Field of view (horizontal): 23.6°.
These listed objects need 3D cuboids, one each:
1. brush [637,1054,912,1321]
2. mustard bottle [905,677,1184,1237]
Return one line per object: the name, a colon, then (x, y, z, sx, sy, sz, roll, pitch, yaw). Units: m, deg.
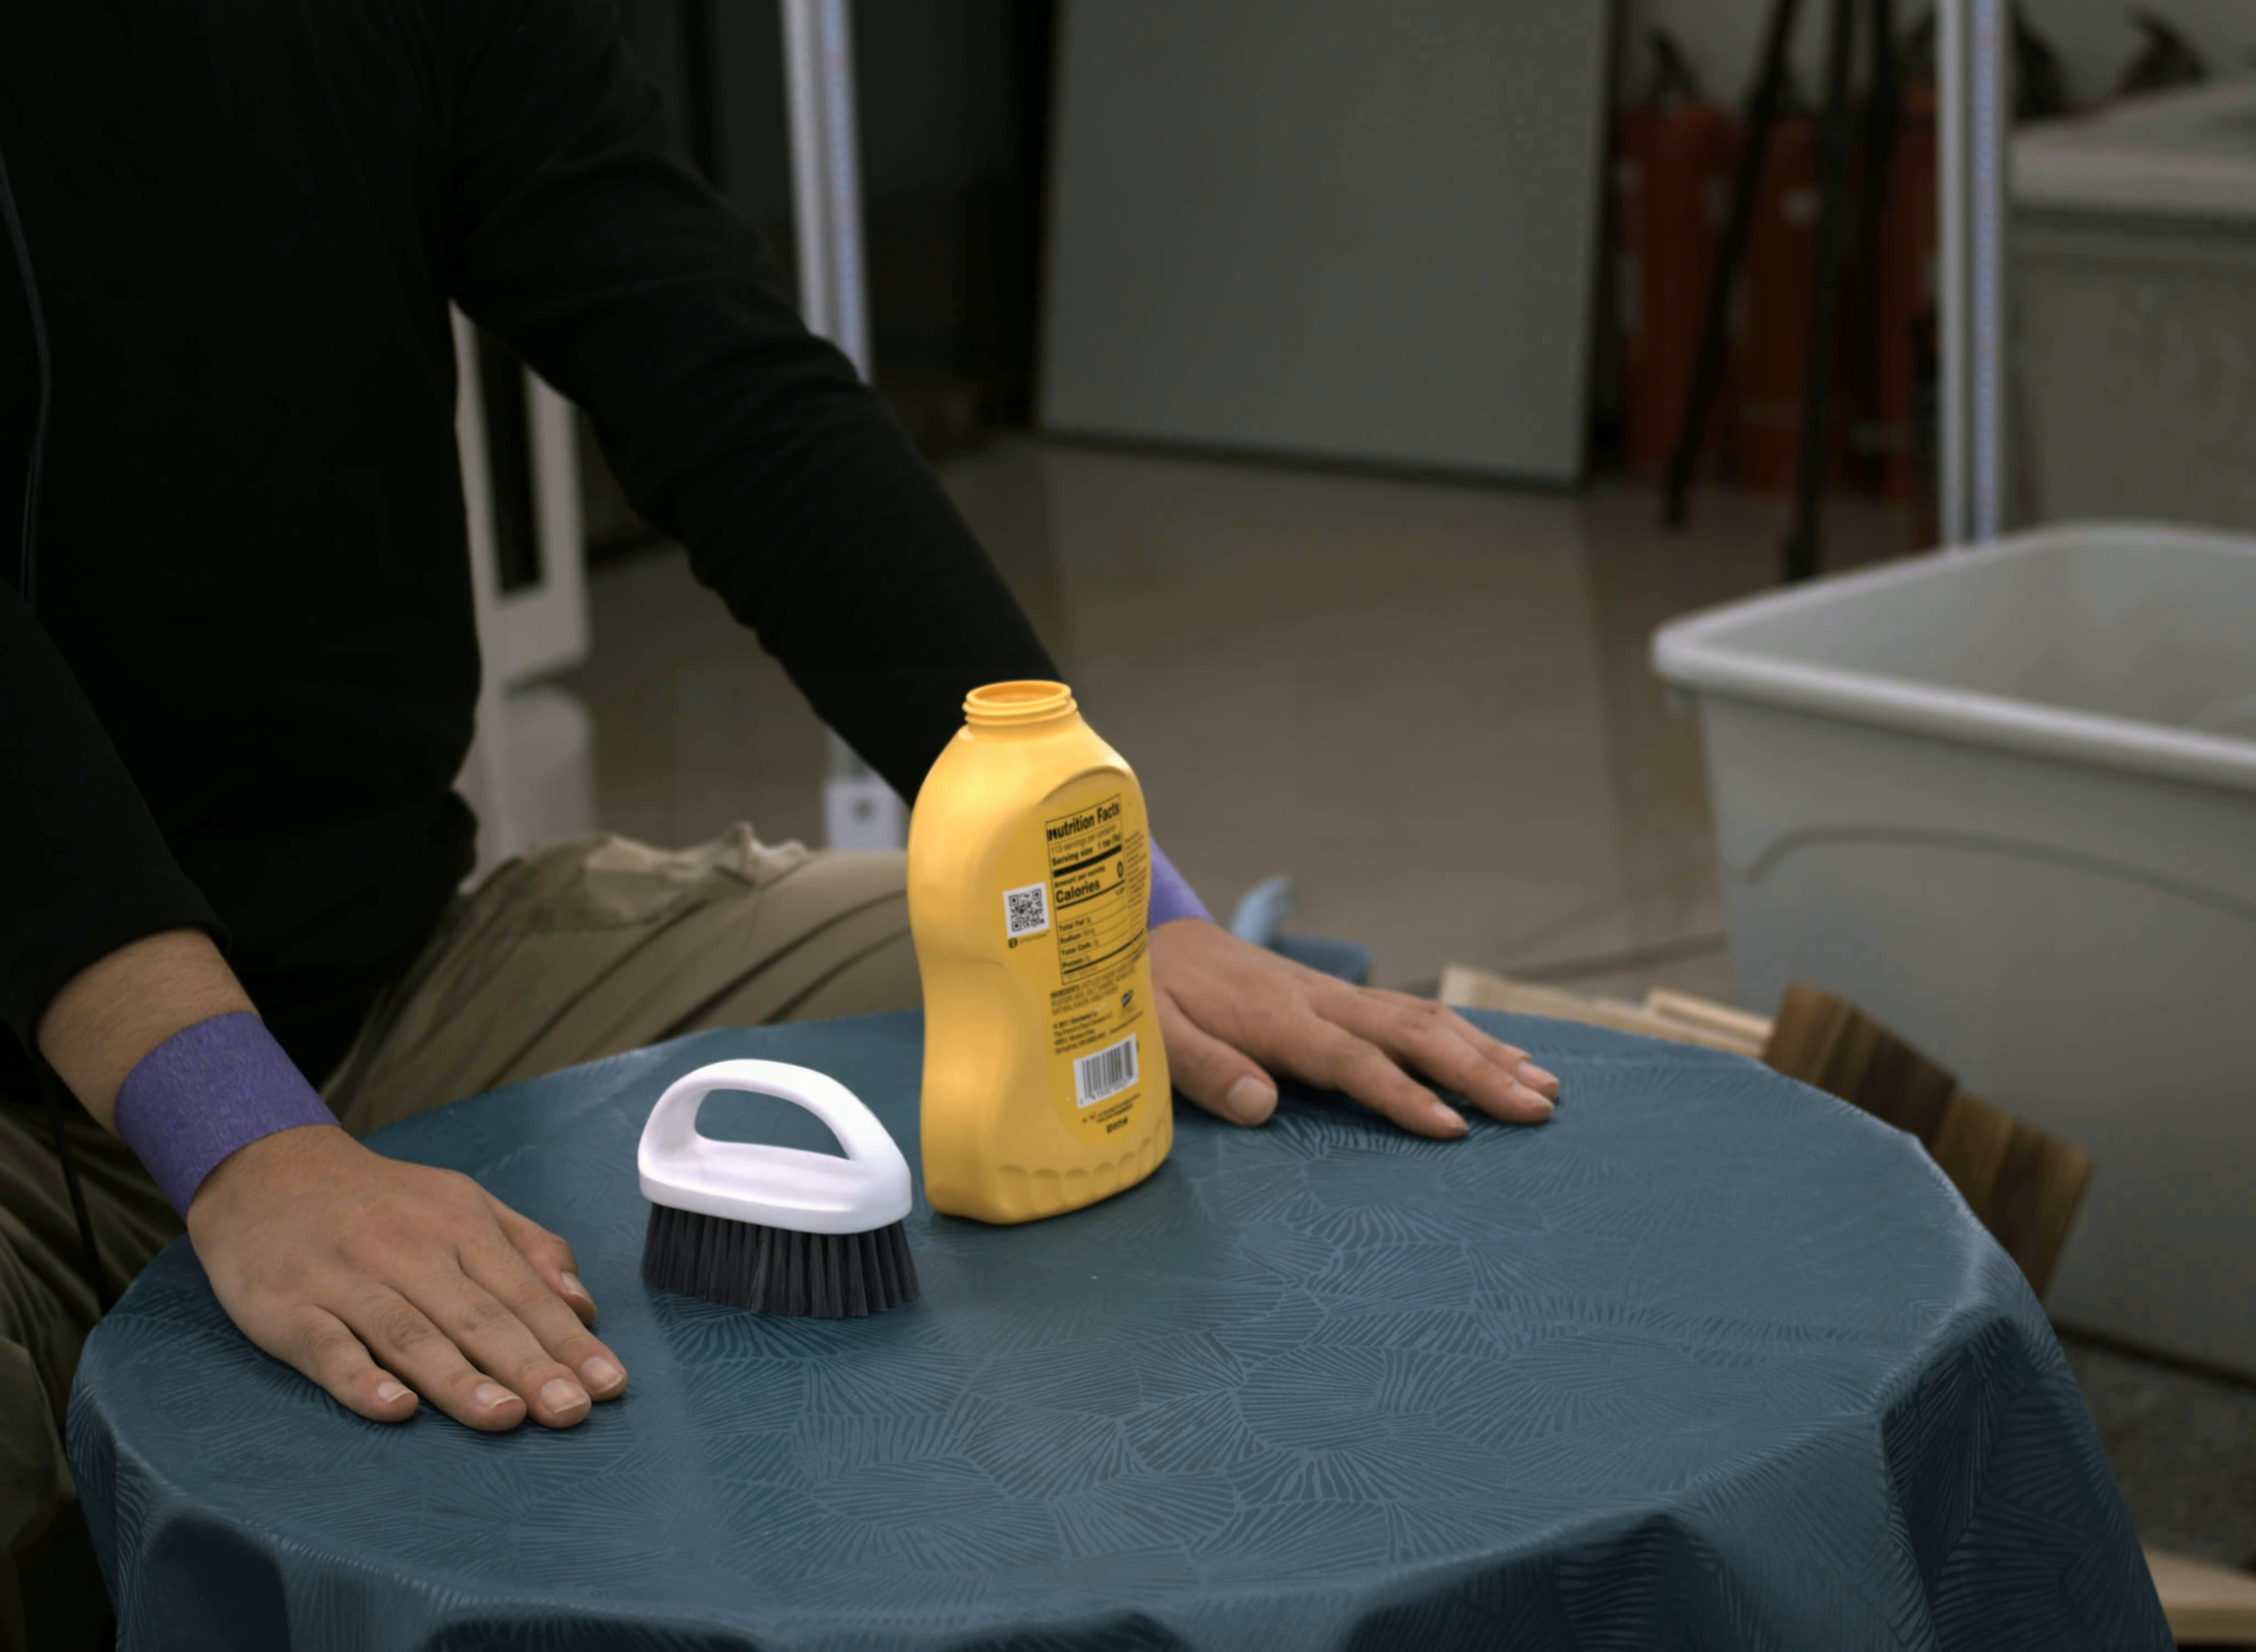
brush: (-0.112, 0.109, 1.692, 0.100, 0.073, 0.049, 9, 17, 38)
mustard bottle: (-0.030, 0.040, 1.753, 0.060, 0.174, 0.096, 1, 14, 38)
